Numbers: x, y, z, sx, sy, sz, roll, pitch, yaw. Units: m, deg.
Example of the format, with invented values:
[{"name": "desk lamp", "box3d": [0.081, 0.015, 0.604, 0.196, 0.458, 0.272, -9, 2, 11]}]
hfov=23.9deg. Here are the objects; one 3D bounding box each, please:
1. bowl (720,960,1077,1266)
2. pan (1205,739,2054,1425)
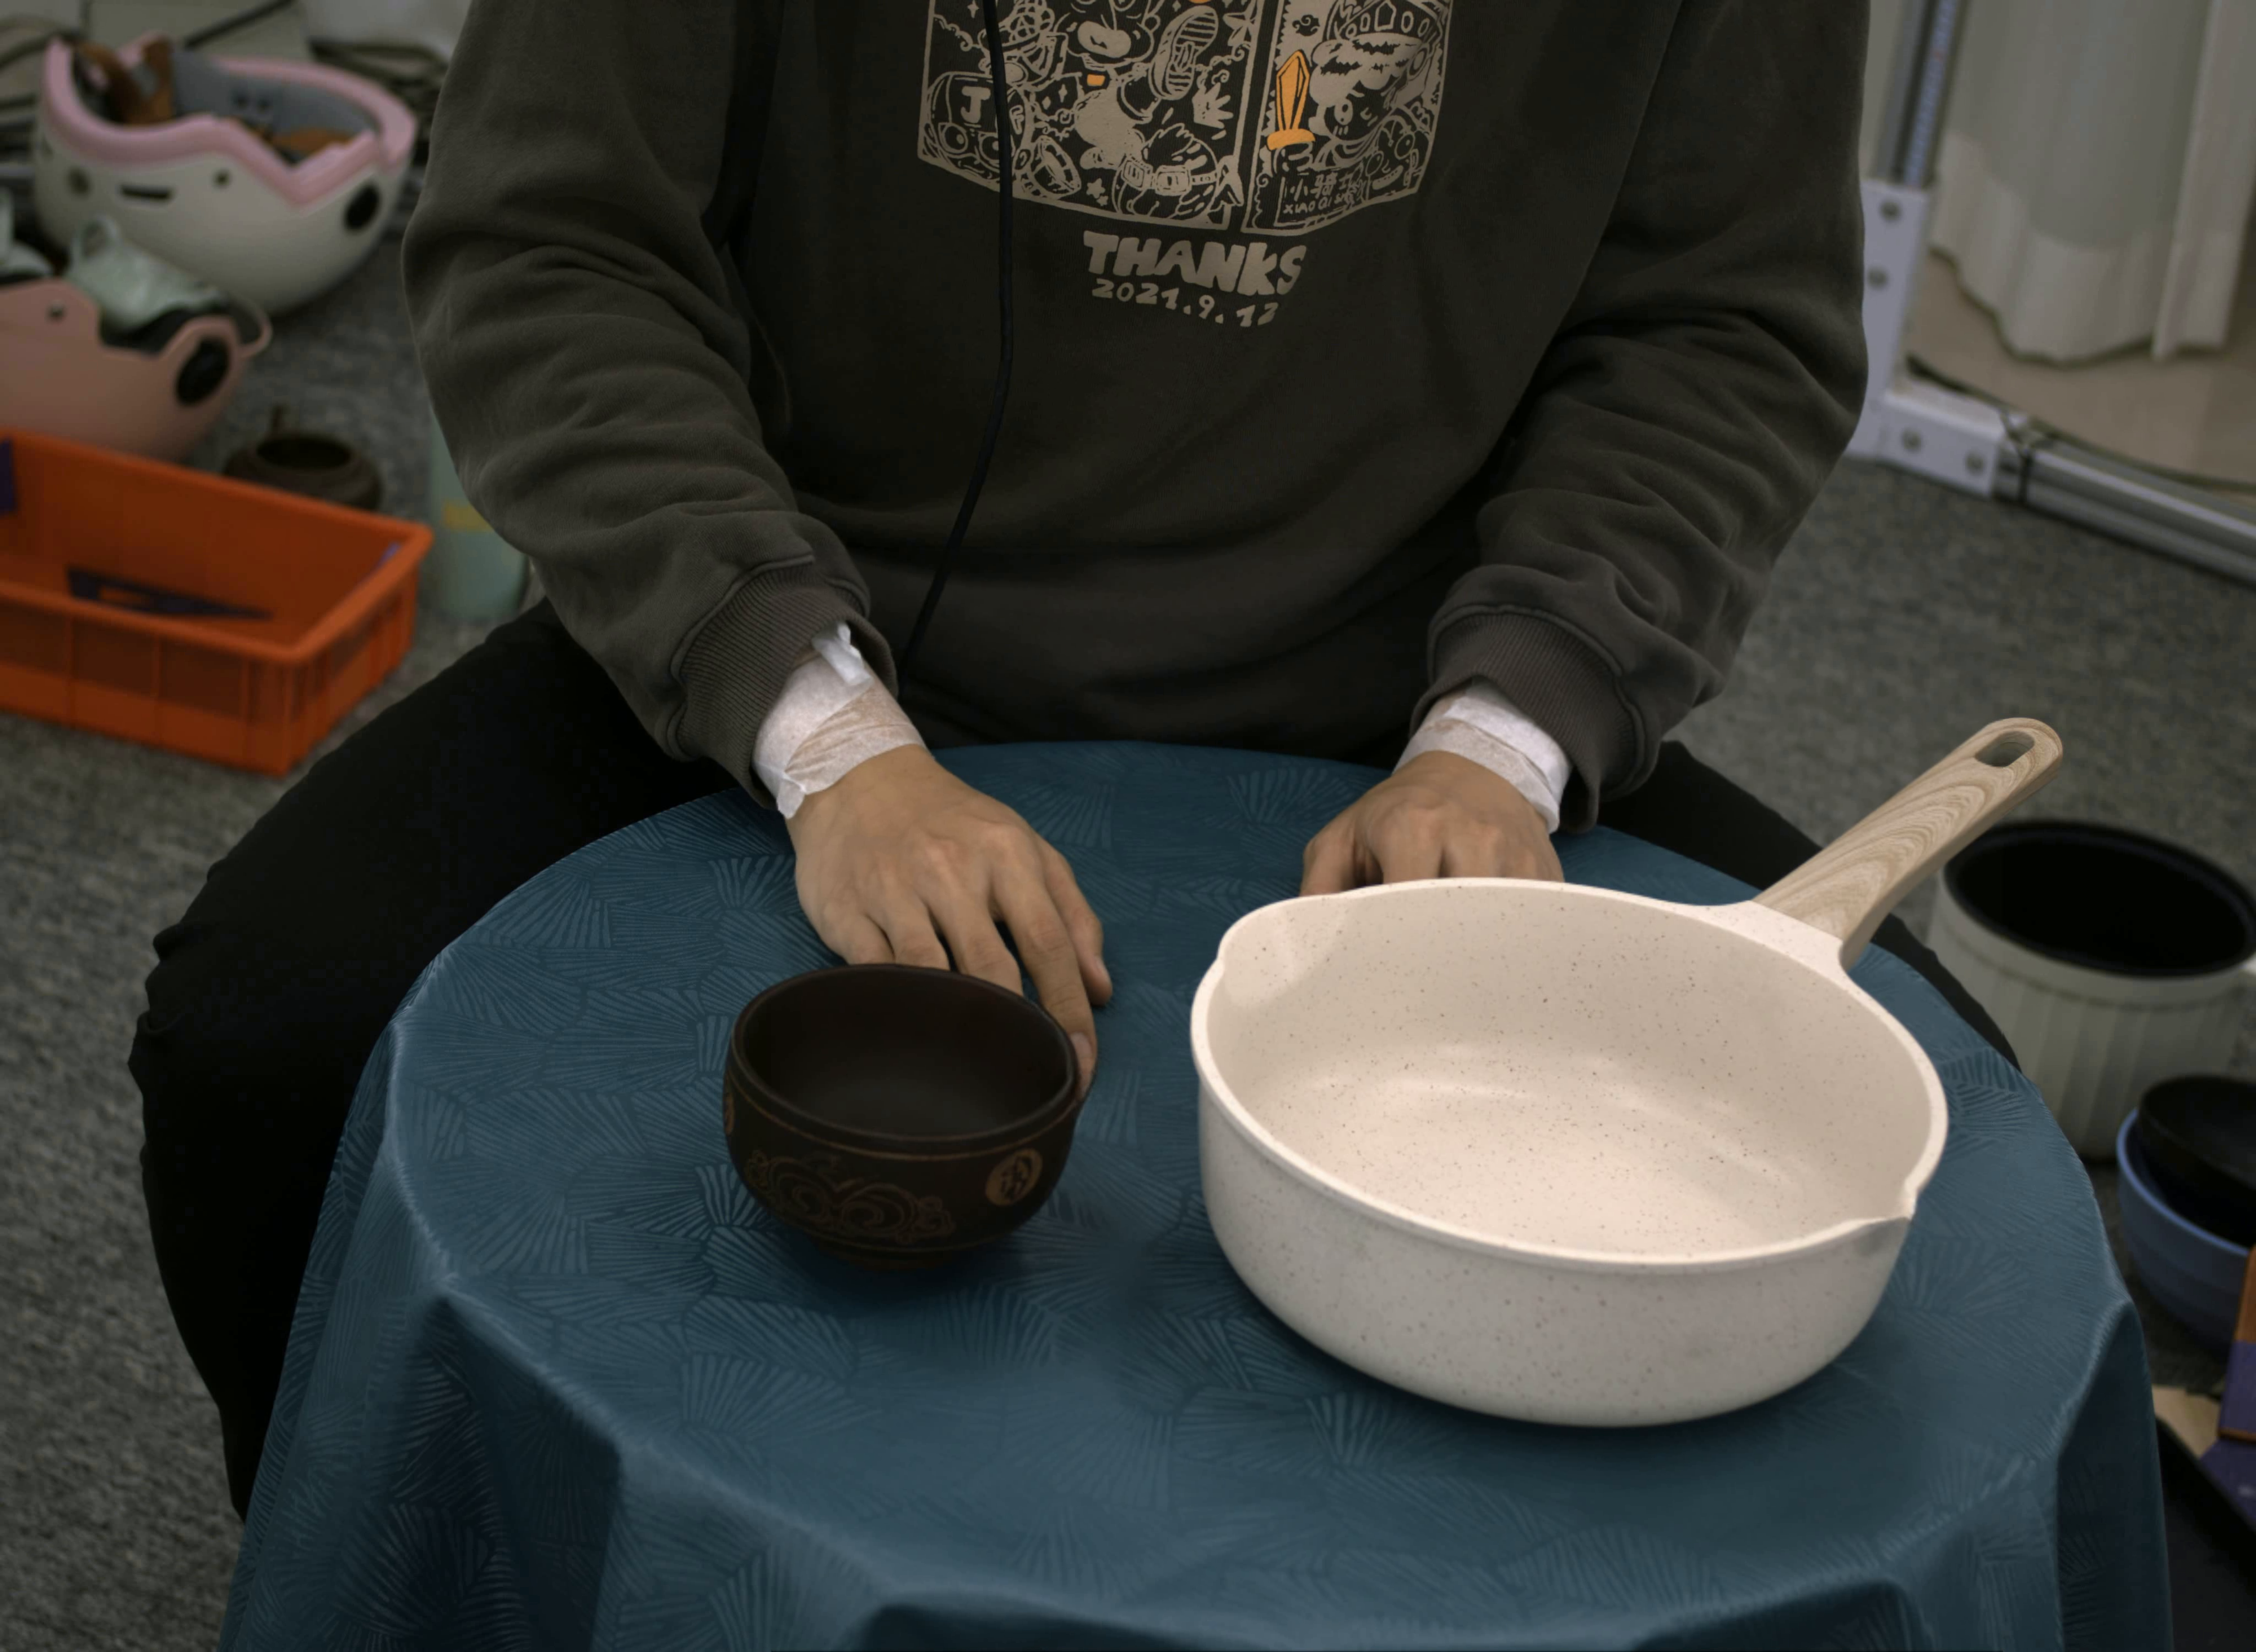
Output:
[{"name": "bowl", "box3d": [-0.077, 0.101, 1.752, 0.117, 0.069, 0.119, 4, 25, -2]}, {"name": "pan", "box3d": [0.202, 0.079, 1.829, 0.265, 0.101, 0.433, 22, 30, 32]}]
